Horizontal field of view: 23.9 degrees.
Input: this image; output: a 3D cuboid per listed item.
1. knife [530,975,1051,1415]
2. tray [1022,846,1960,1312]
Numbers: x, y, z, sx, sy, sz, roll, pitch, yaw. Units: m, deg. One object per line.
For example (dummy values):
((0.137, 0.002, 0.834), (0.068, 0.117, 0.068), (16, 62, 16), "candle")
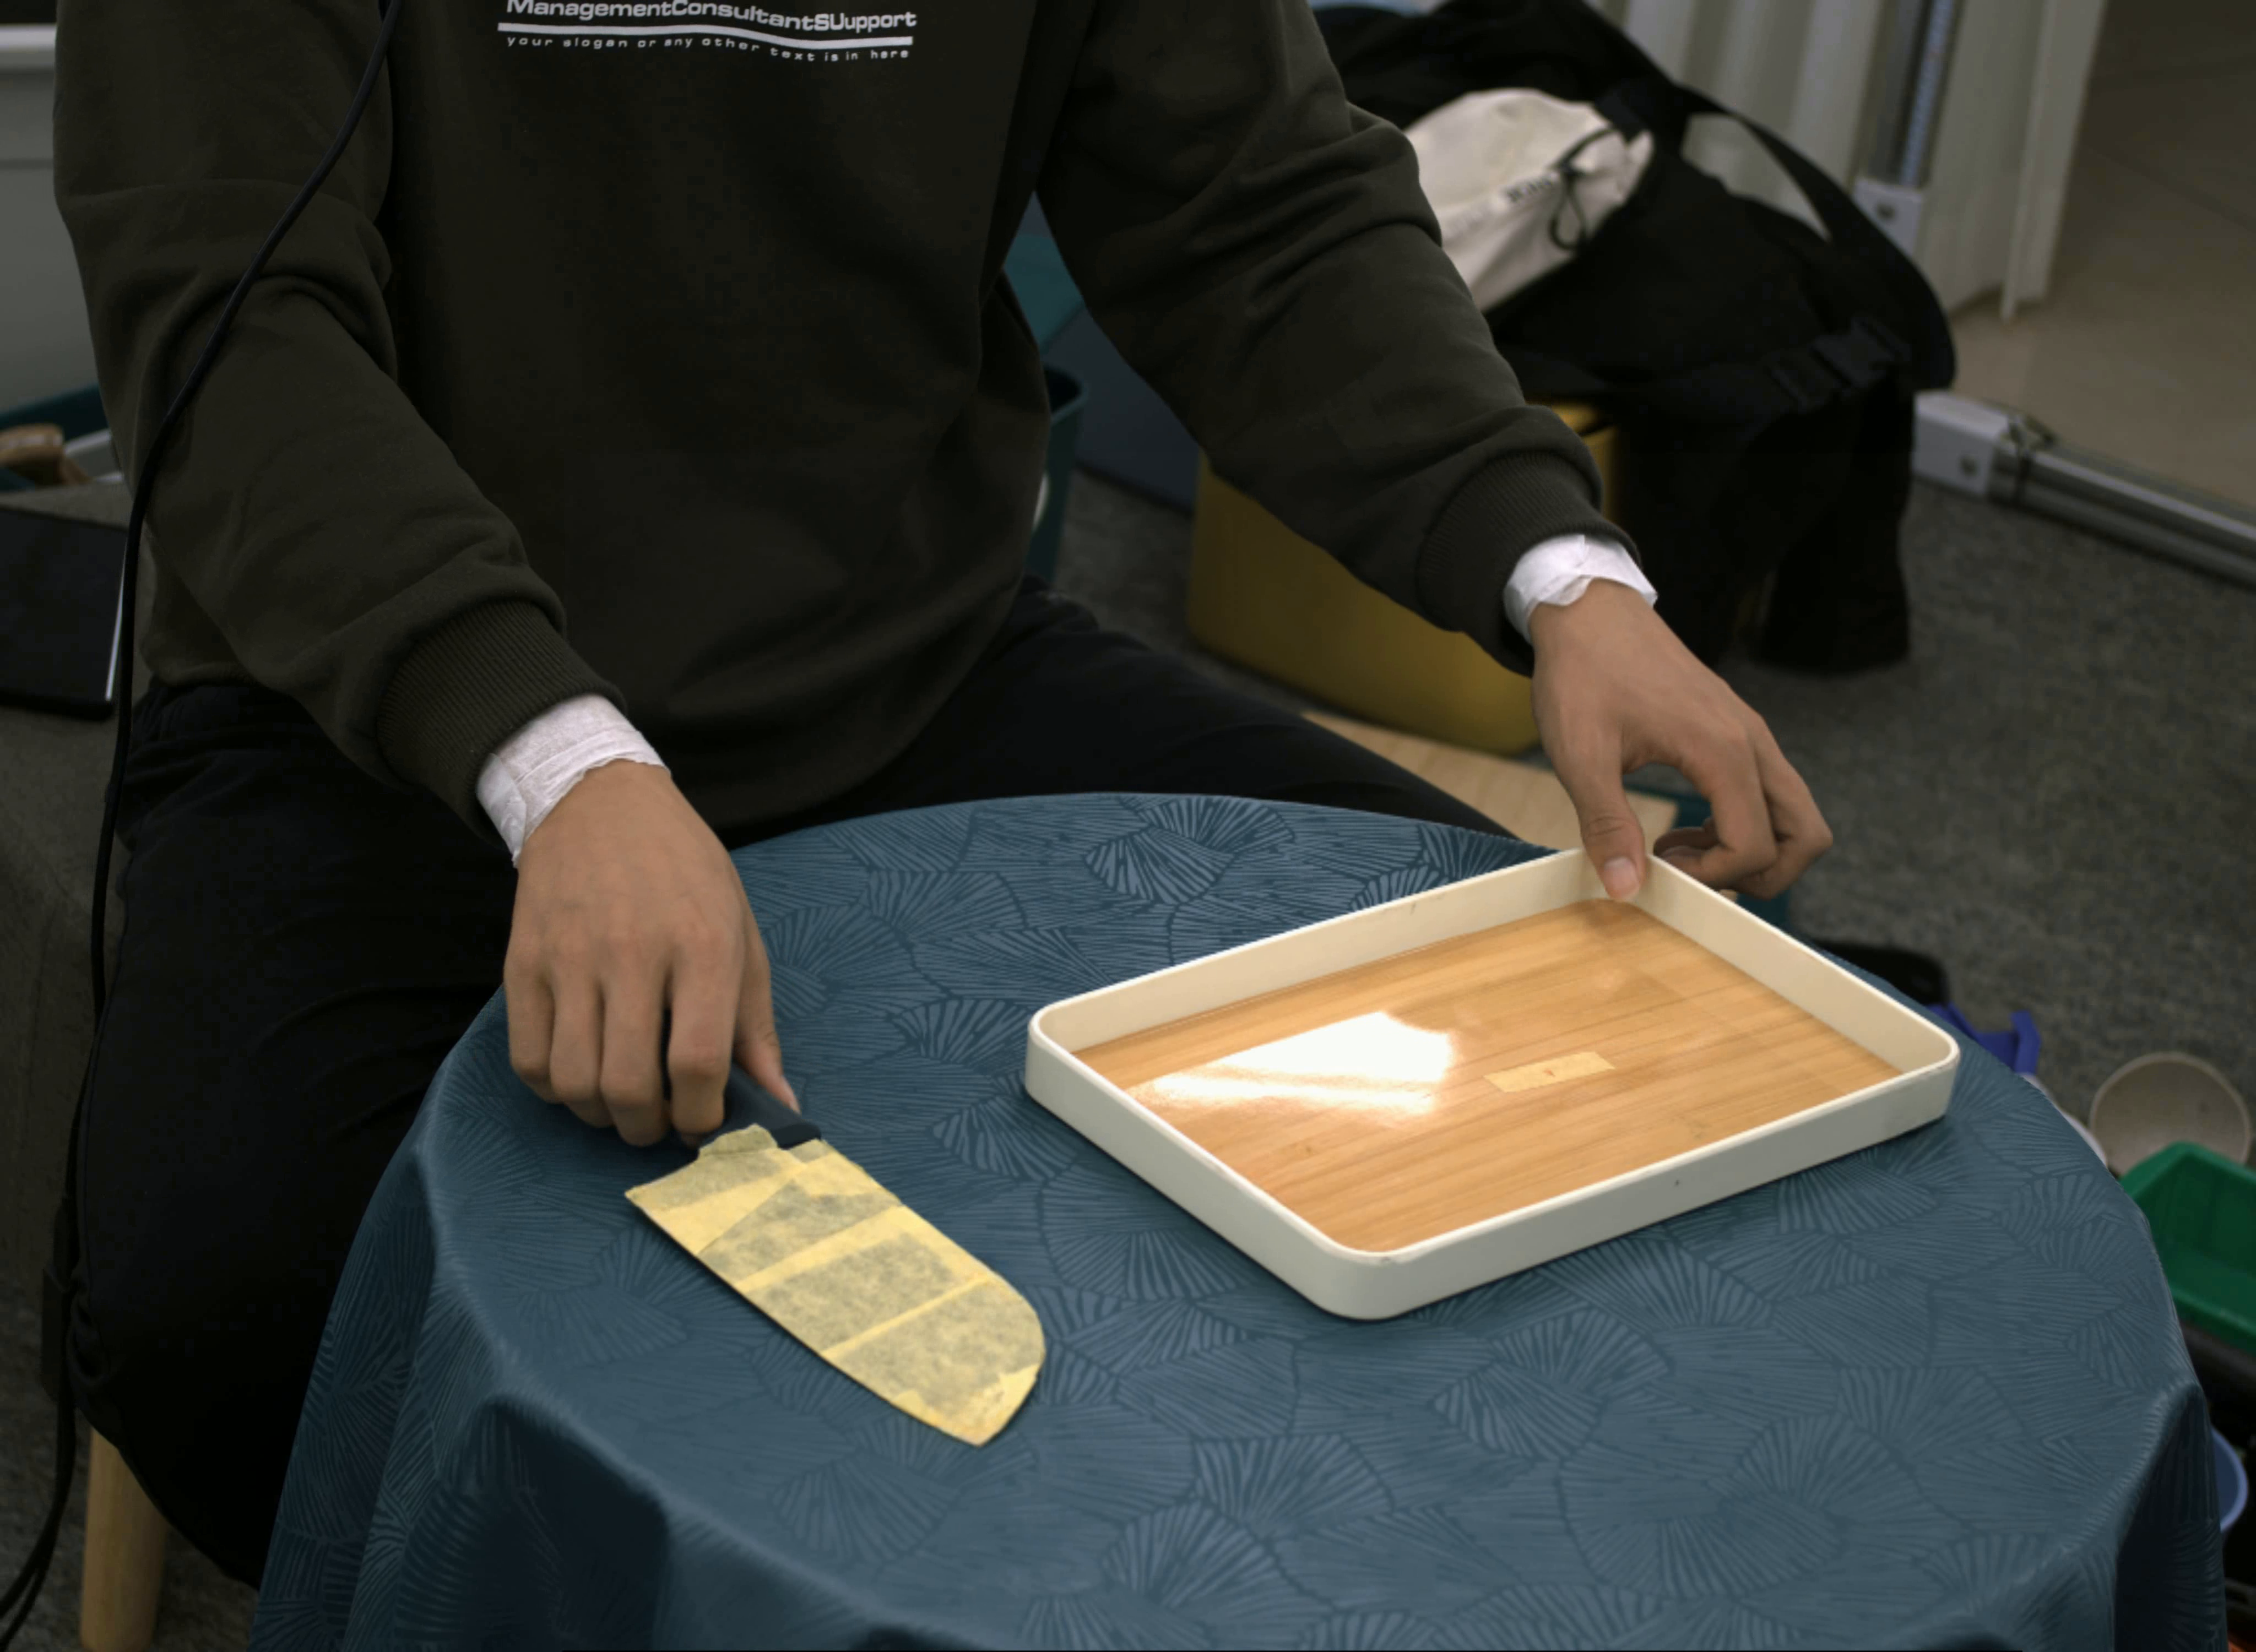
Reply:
((-0.123, 0.122, 1.765), (0.080, 0.027, 0.292), (-16, 35, -34), "knife")
((0.130, 0.085, 1.883), (0.298, 0.027, 0.193), (-15, 33, -36), "tray")
